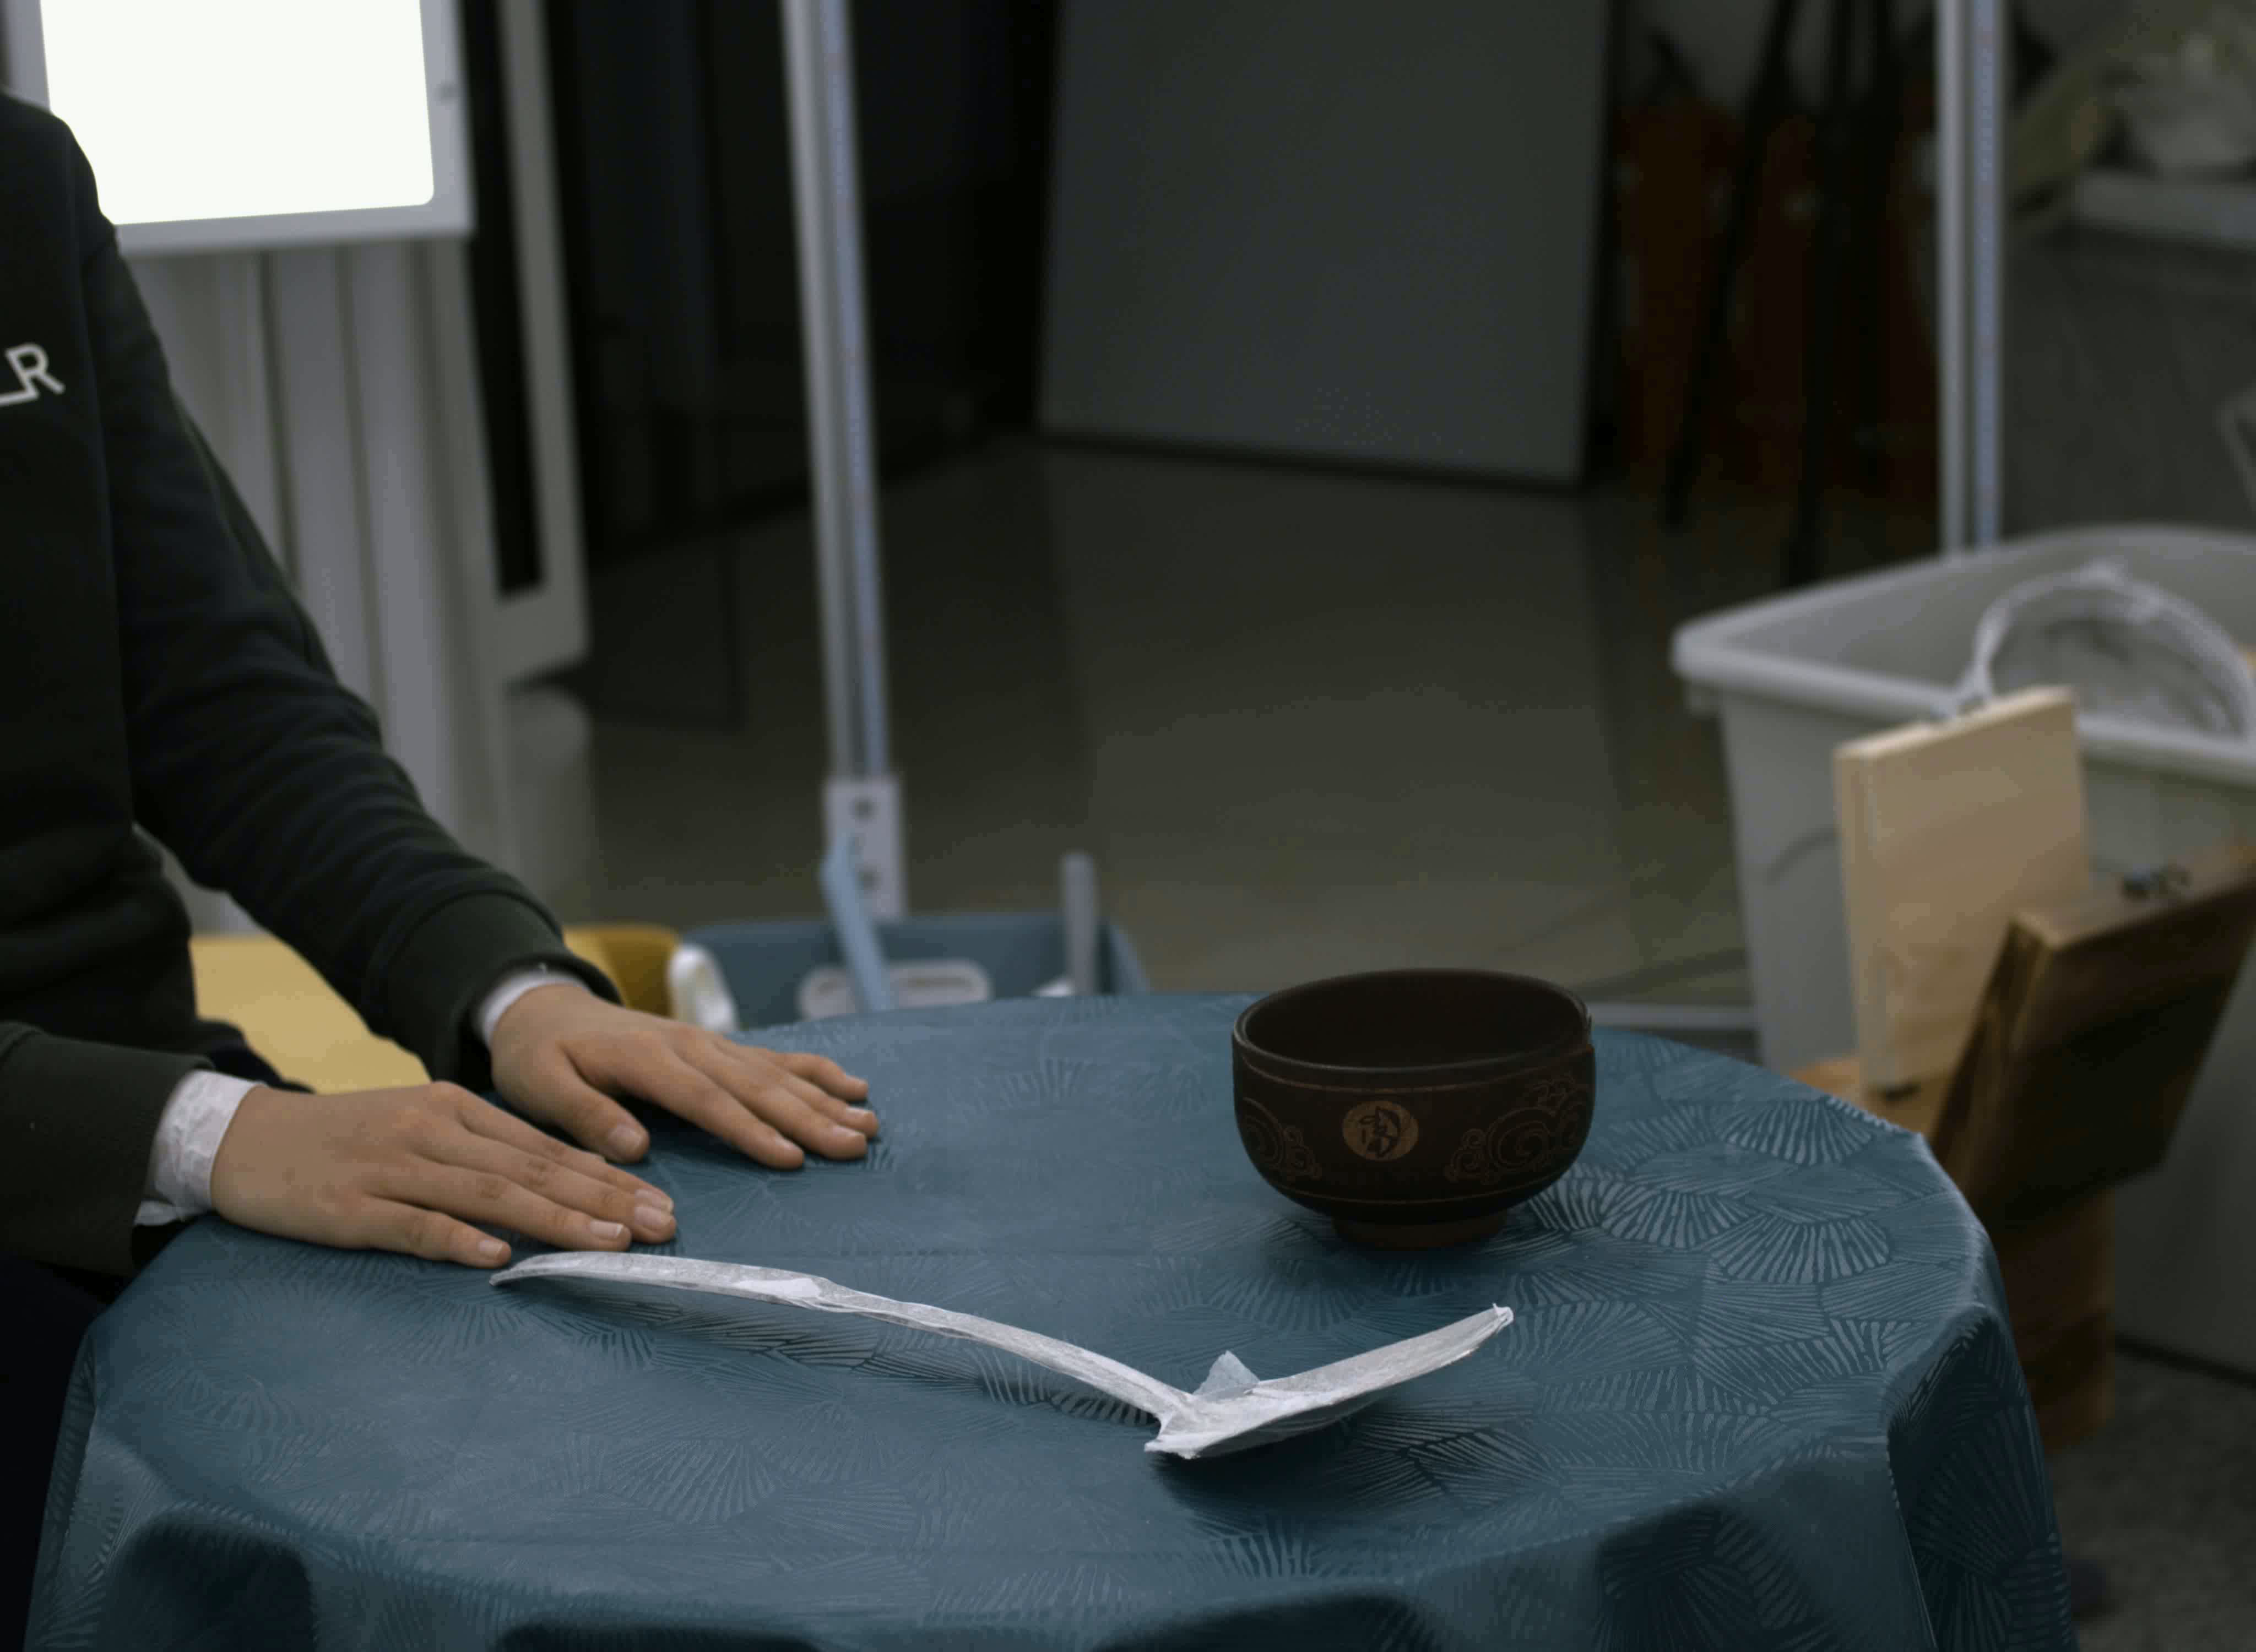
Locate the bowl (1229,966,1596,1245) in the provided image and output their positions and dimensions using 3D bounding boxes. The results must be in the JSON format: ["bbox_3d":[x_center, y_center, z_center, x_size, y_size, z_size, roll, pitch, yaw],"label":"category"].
[{"bbox_3d":[0.091,0.092,1.712,0.116,0.070,0.118,-3,12,0],"label":"bowl"}]

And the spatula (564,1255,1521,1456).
[{"bbox_3d":[-0.046,0.145,1.606,0.368,0.045,0.097,8,20,39],"label":"spatula"}]
